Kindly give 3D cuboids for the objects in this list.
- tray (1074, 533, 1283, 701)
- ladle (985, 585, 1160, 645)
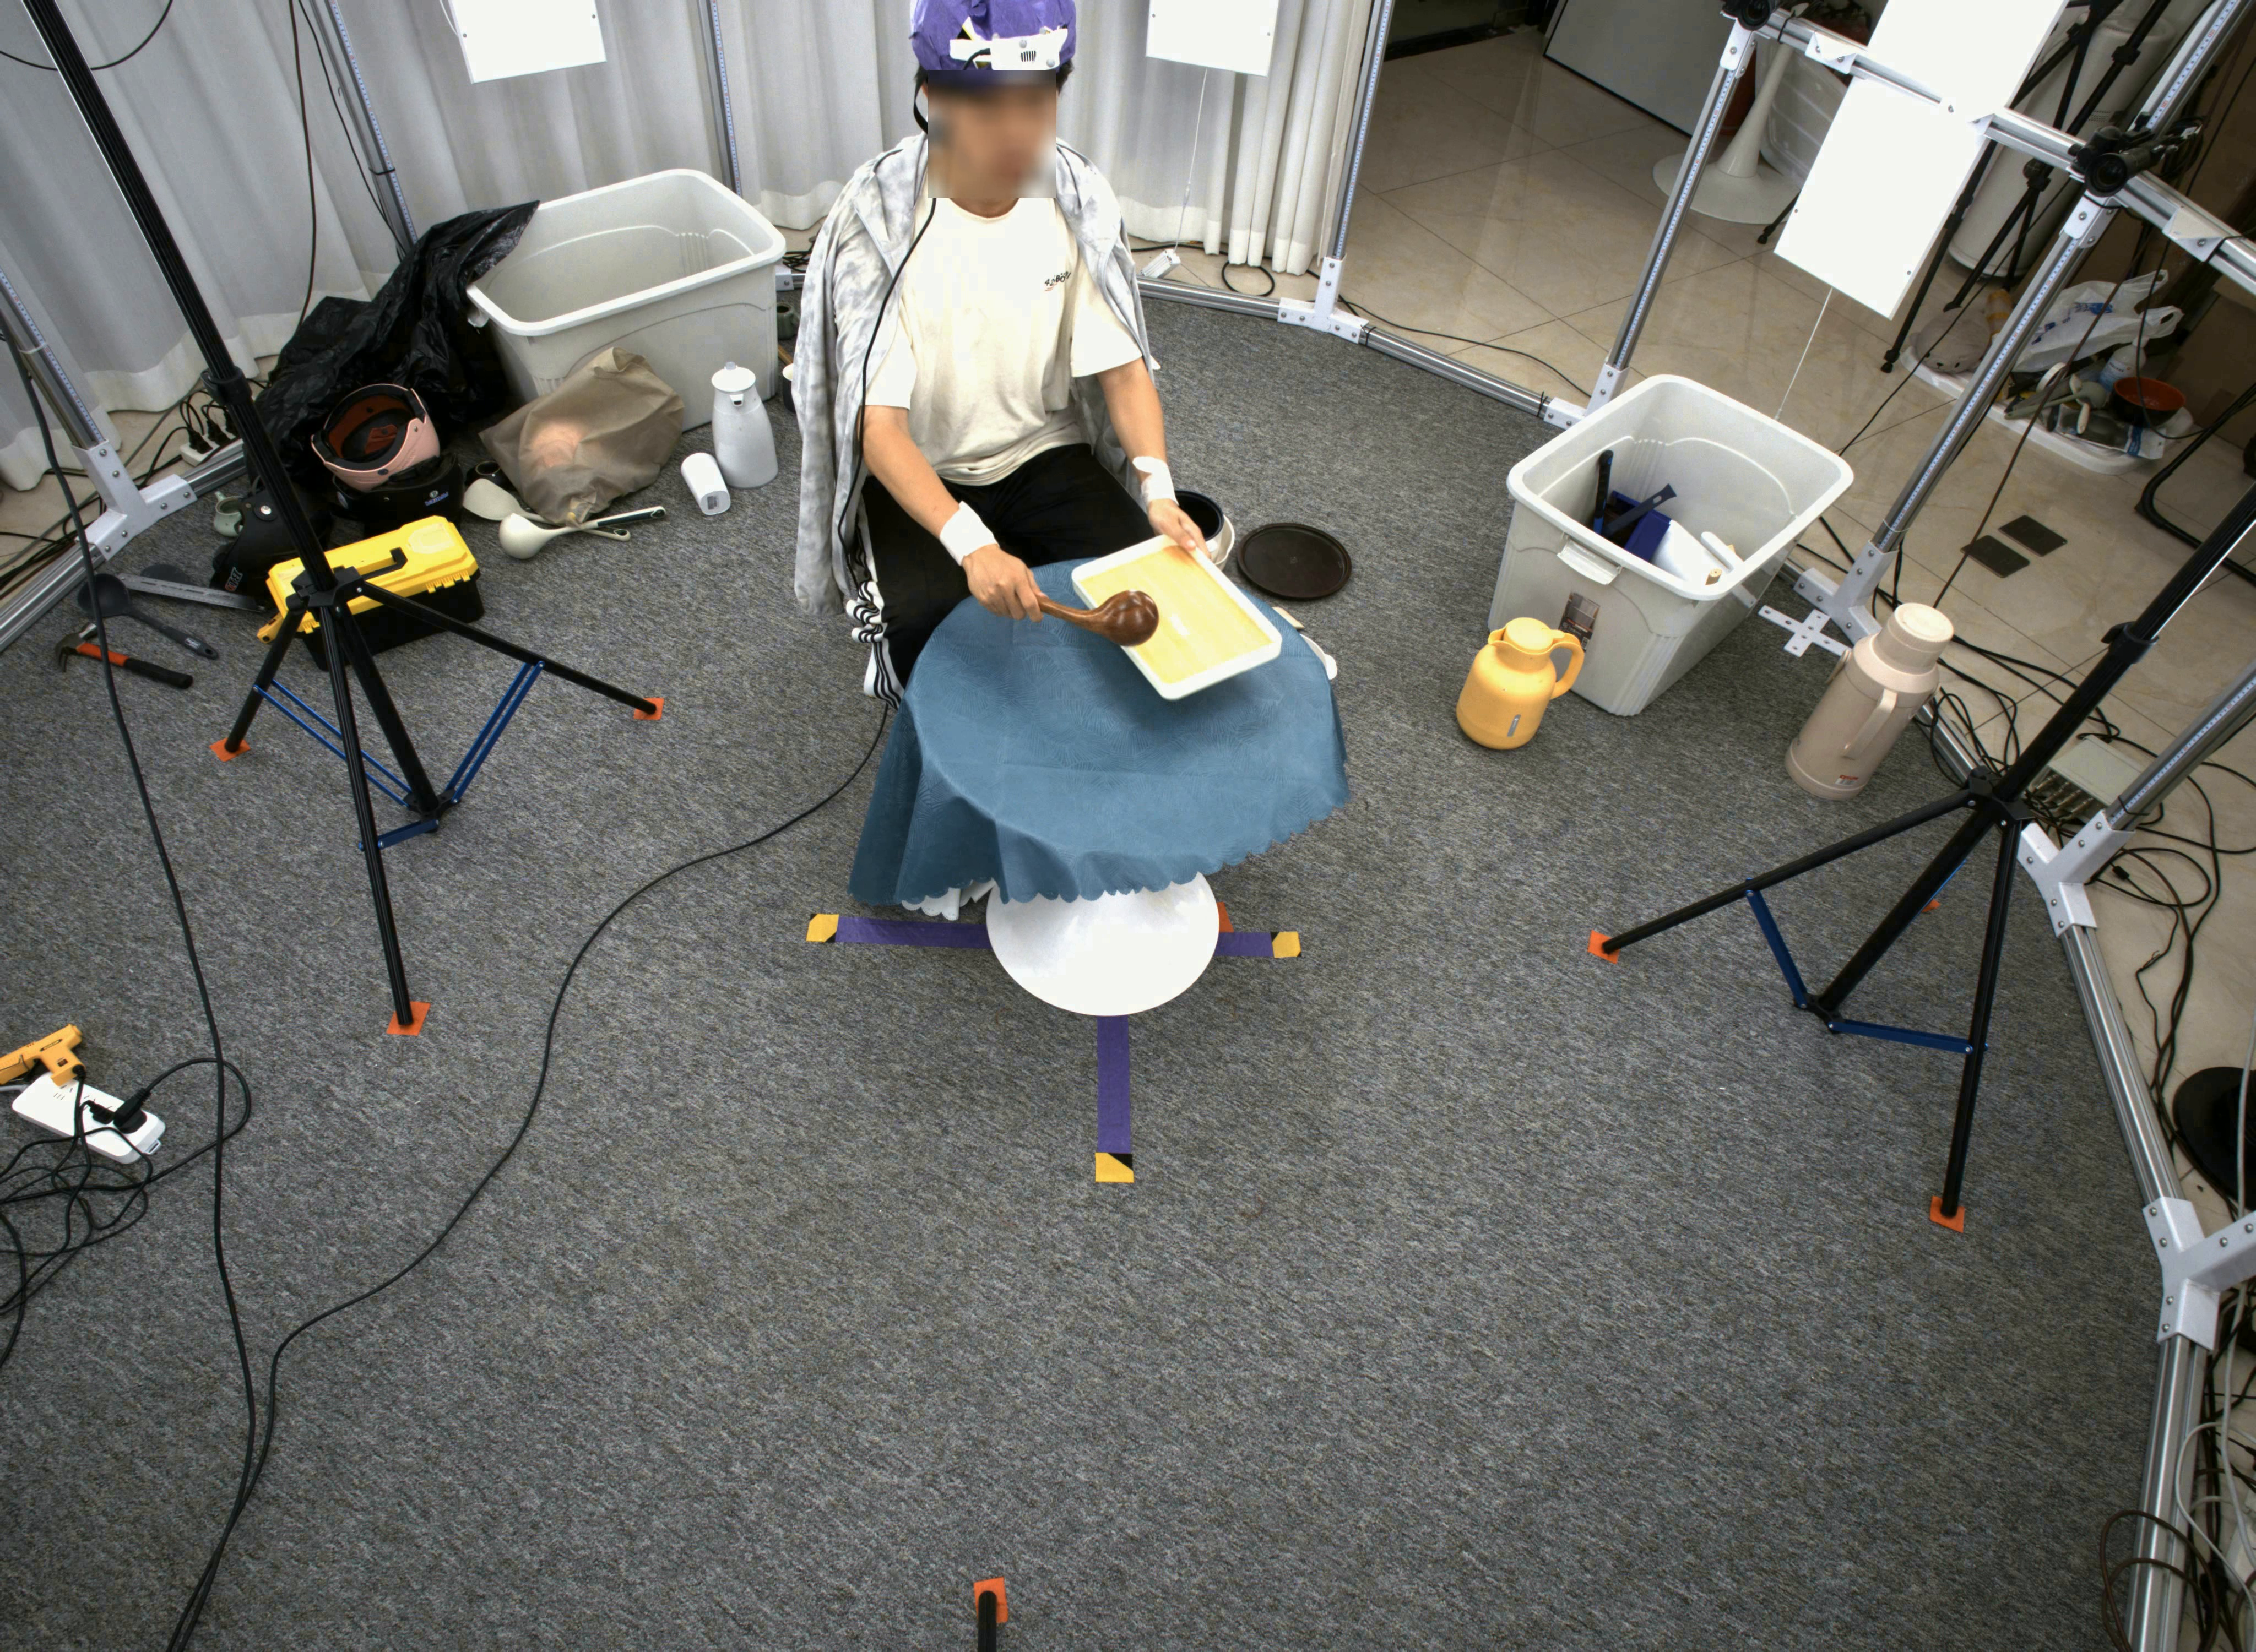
[{"bbox_3d":[0.068,-0.305,1.838,0.192,0.027,0.307,-24,50,-15],"label":"tray"},{"bbox_3d":[-0.077,-0.308,1.766,0.277,0.080,0.077,21,38,37],"label":"ladle"}]
